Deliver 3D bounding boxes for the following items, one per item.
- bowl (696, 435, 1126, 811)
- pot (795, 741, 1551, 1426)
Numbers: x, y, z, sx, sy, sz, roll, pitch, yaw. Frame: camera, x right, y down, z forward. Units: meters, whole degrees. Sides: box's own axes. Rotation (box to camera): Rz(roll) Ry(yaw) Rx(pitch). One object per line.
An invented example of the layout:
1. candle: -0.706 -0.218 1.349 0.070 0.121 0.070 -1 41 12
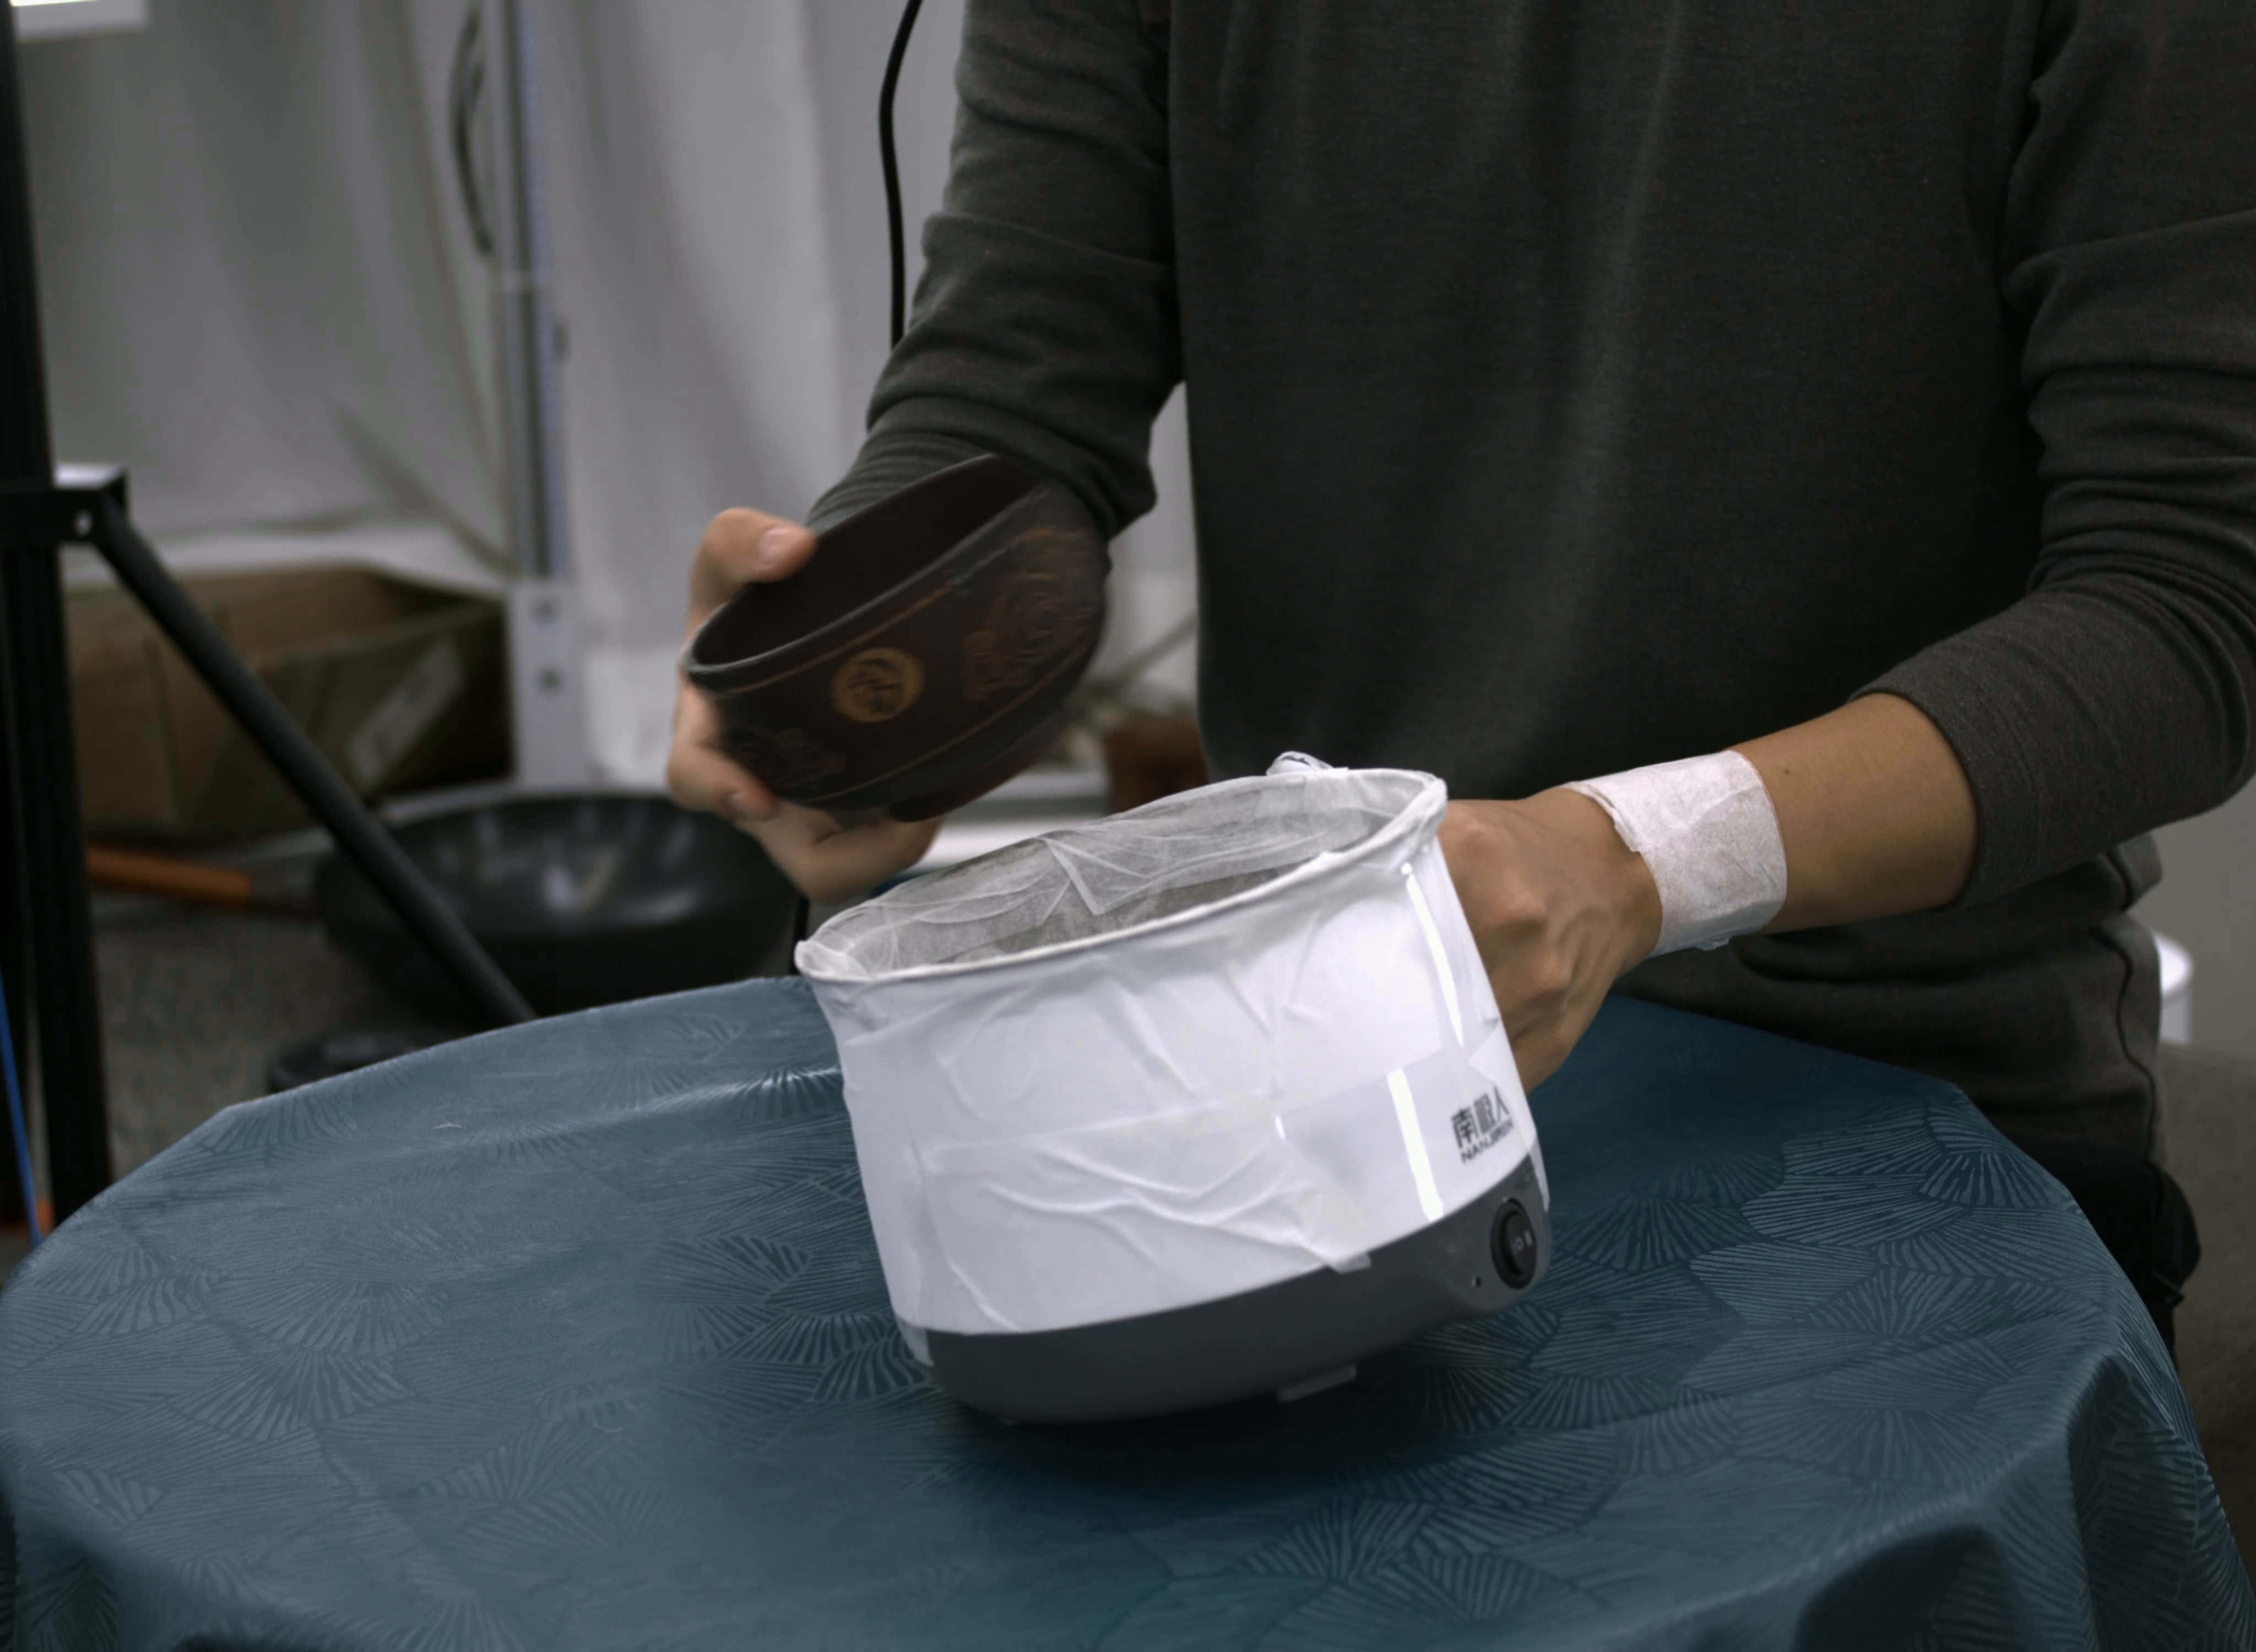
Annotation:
1. bowl: -0.052 -0.048 1.458 0.118 0.069 0.118 -29 14 6
2. pot: 0.027 0.063 1.416 0.182 0.136 0.230 -9 12 32
